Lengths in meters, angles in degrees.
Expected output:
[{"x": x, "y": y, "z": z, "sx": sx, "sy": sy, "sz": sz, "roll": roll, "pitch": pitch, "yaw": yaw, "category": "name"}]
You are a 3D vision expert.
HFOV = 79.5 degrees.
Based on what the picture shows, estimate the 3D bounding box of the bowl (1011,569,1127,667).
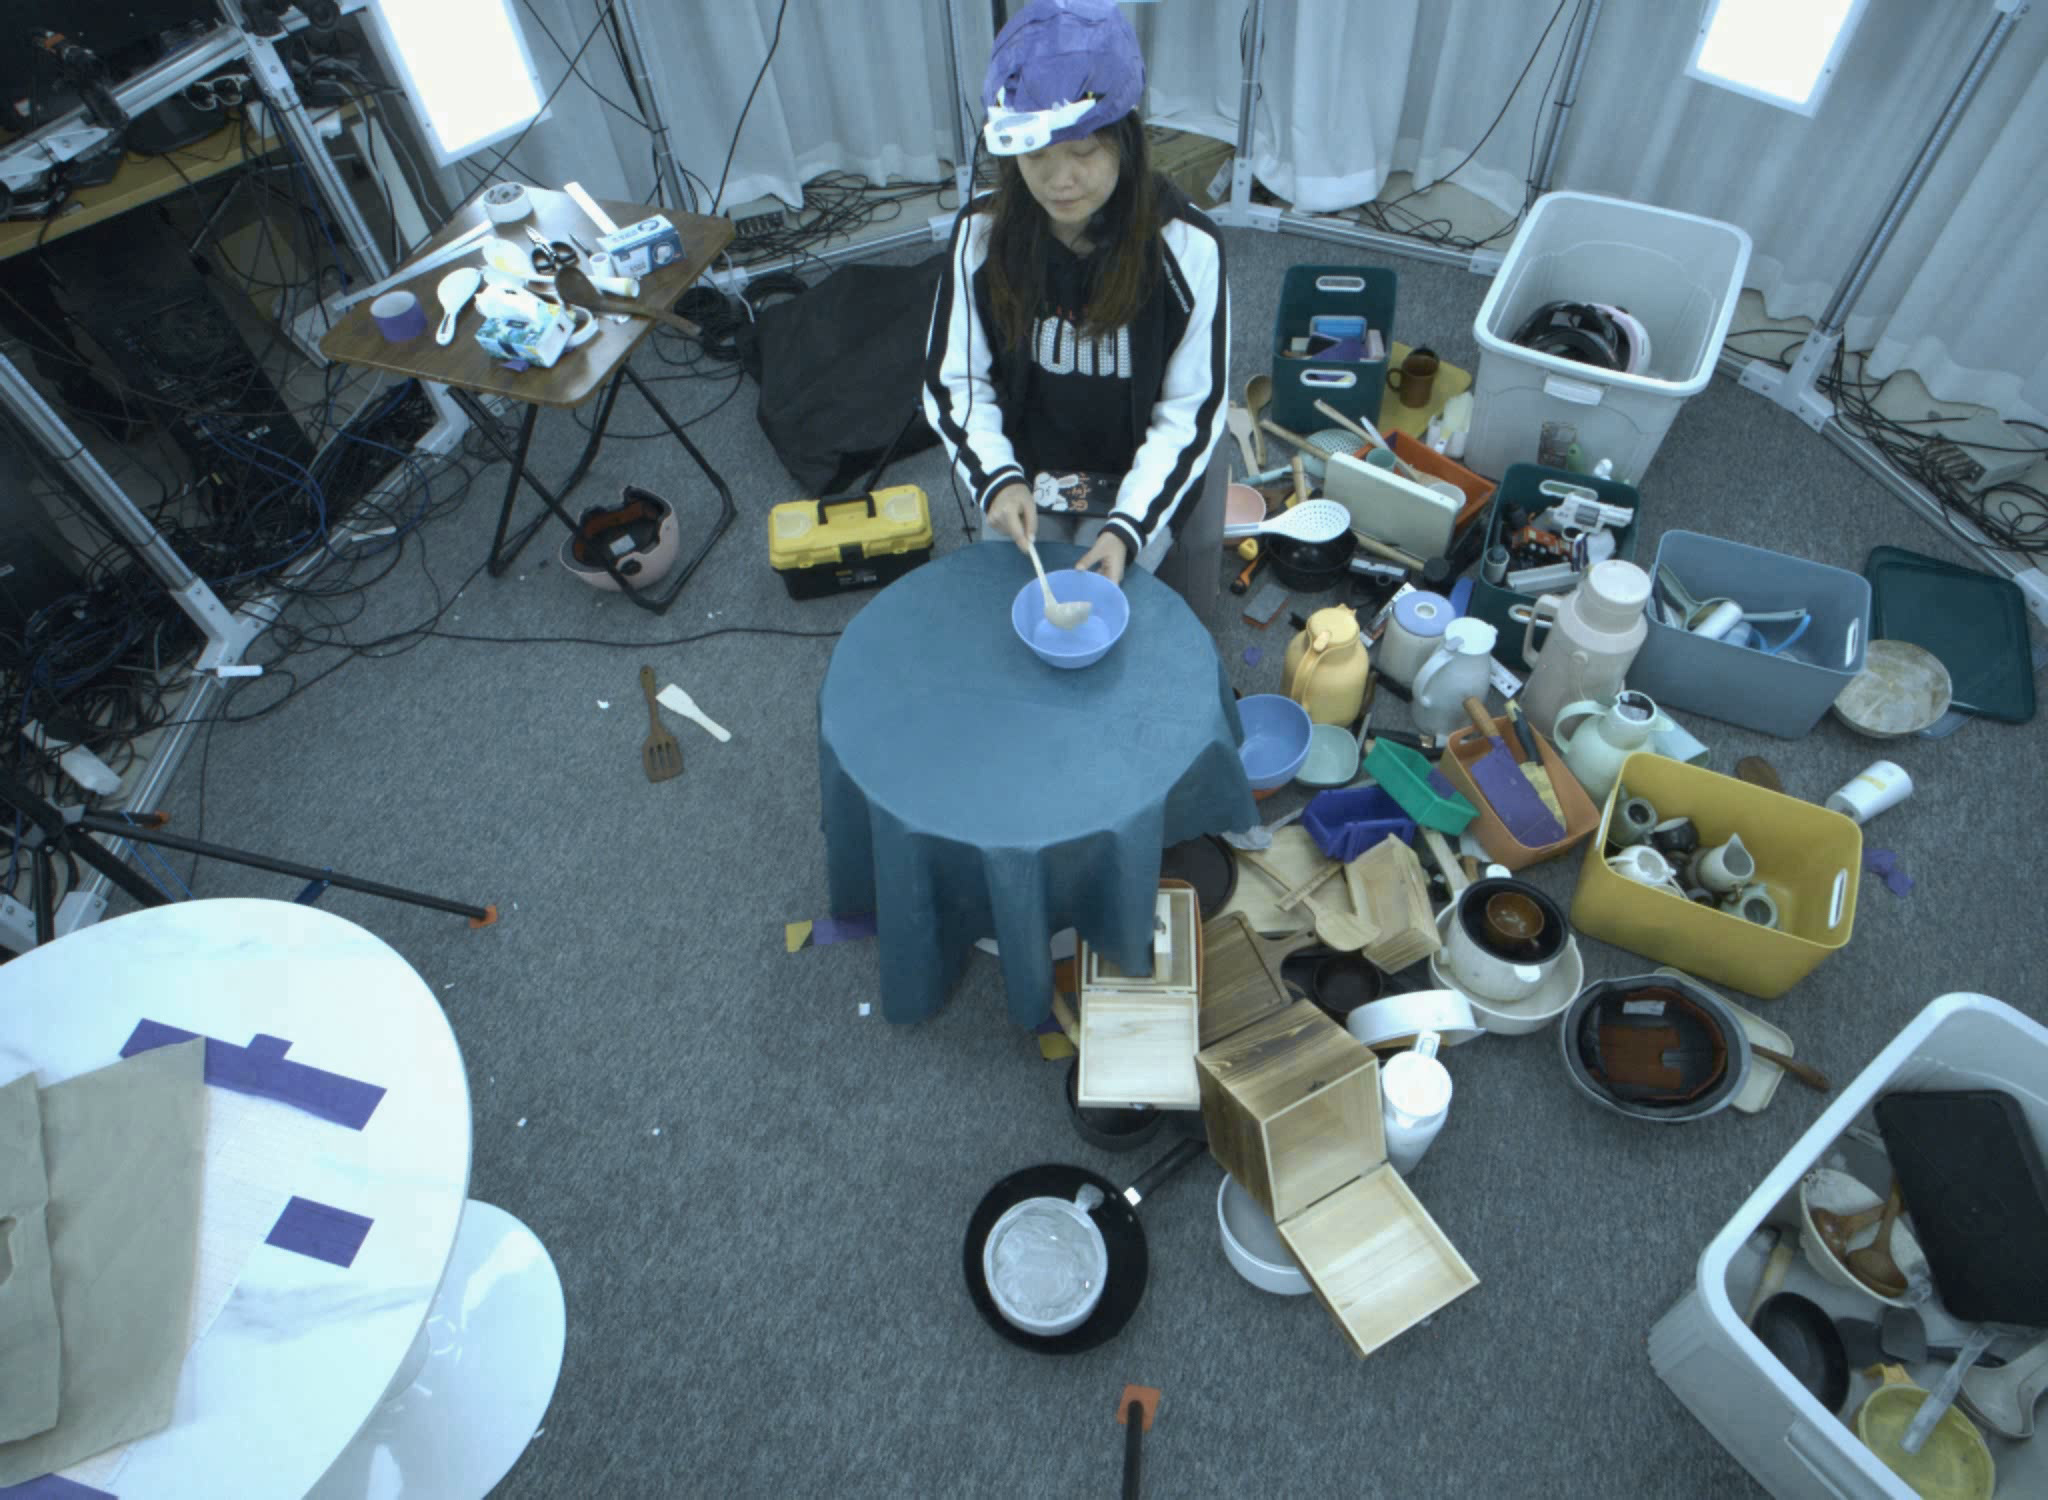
[{"x": 0.069, "y": -0.192, "z": 1.878, "sx": 0.176, "sy": 0.071, "sz": 0.174, "roll": 0, "pitch": 55, "yaw": 1, "category": "bowl"}]

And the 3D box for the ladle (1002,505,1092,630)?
[{"x": 0.029, "y": -0.294, "z": 1.850, "sx": 0.073, "sy": 0.072, "sz": 0.251, "roll": -8, "pitch": 65, "yaw": -35, "category": "ladle"}]
